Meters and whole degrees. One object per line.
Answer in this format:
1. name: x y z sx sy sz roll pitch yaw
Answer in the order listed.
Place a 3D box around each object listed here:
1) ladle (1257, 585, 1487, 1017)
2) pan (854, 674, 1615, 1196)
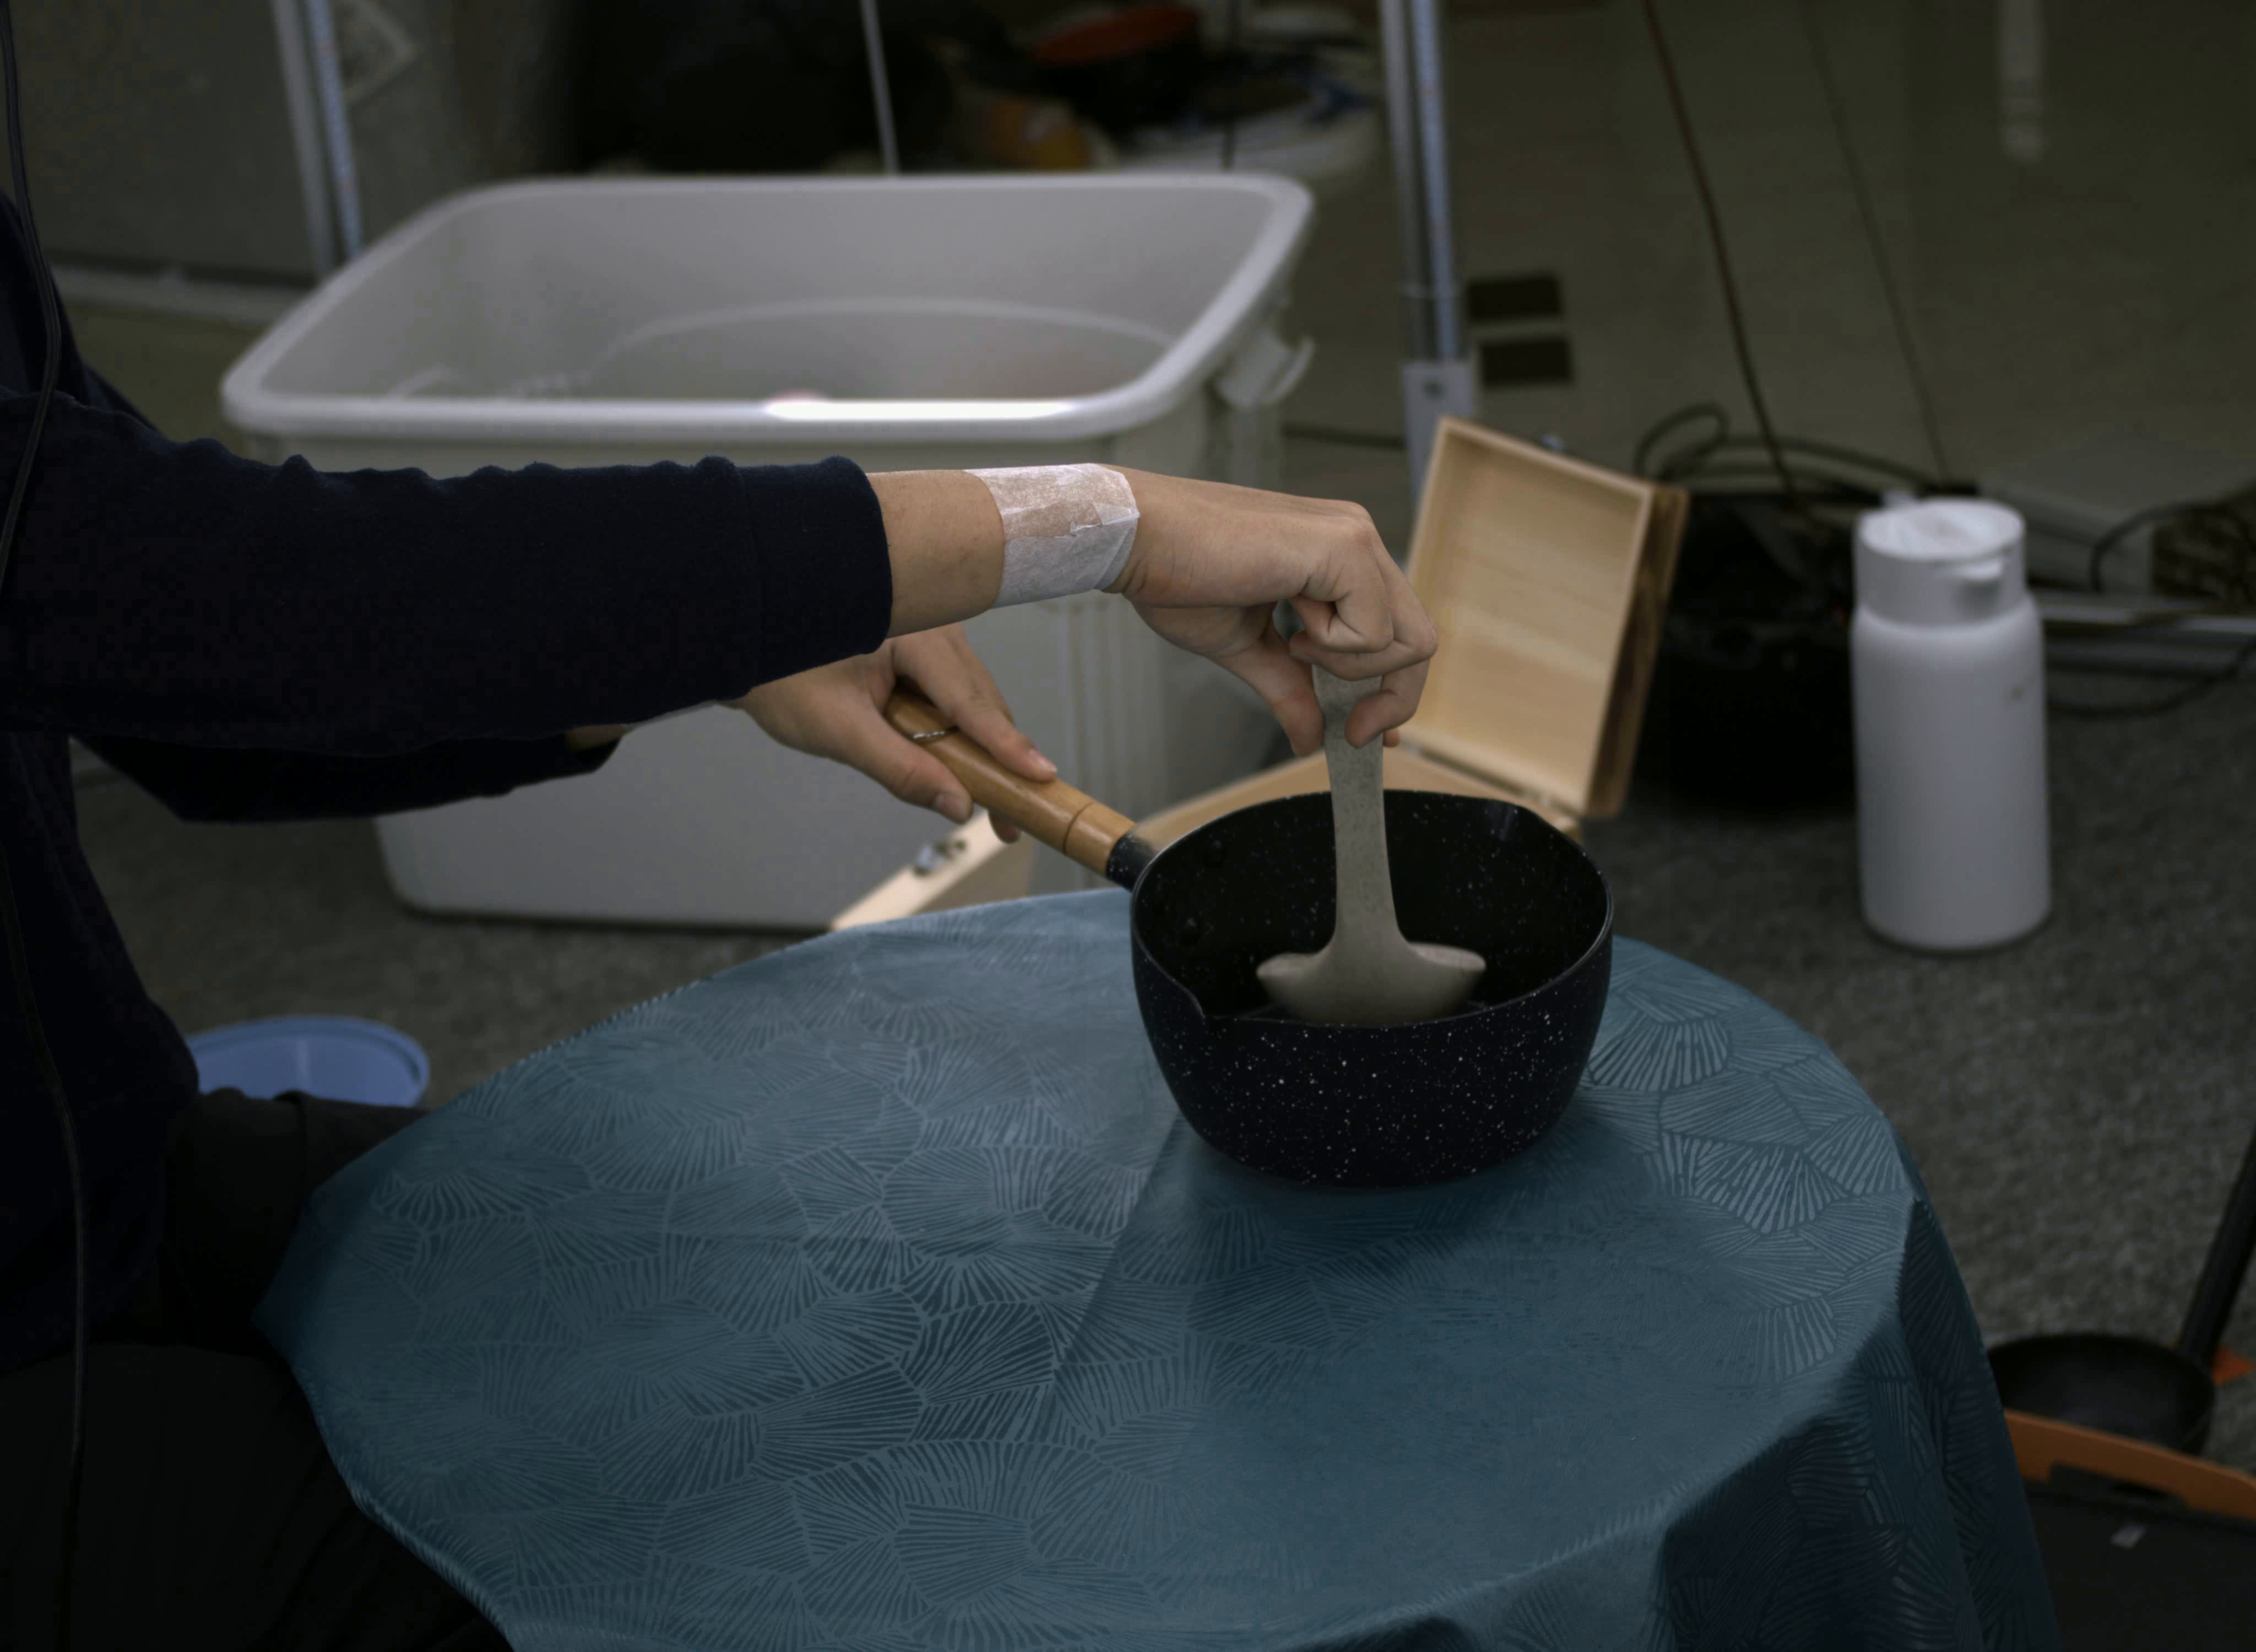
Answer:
1. ladle: 0.086 -0.017 2.113 0.089 0.280 0.068 2 50 7
2. pan: 0.029 0.035 2.202 0.340 0.110 0.205 19 37 31
